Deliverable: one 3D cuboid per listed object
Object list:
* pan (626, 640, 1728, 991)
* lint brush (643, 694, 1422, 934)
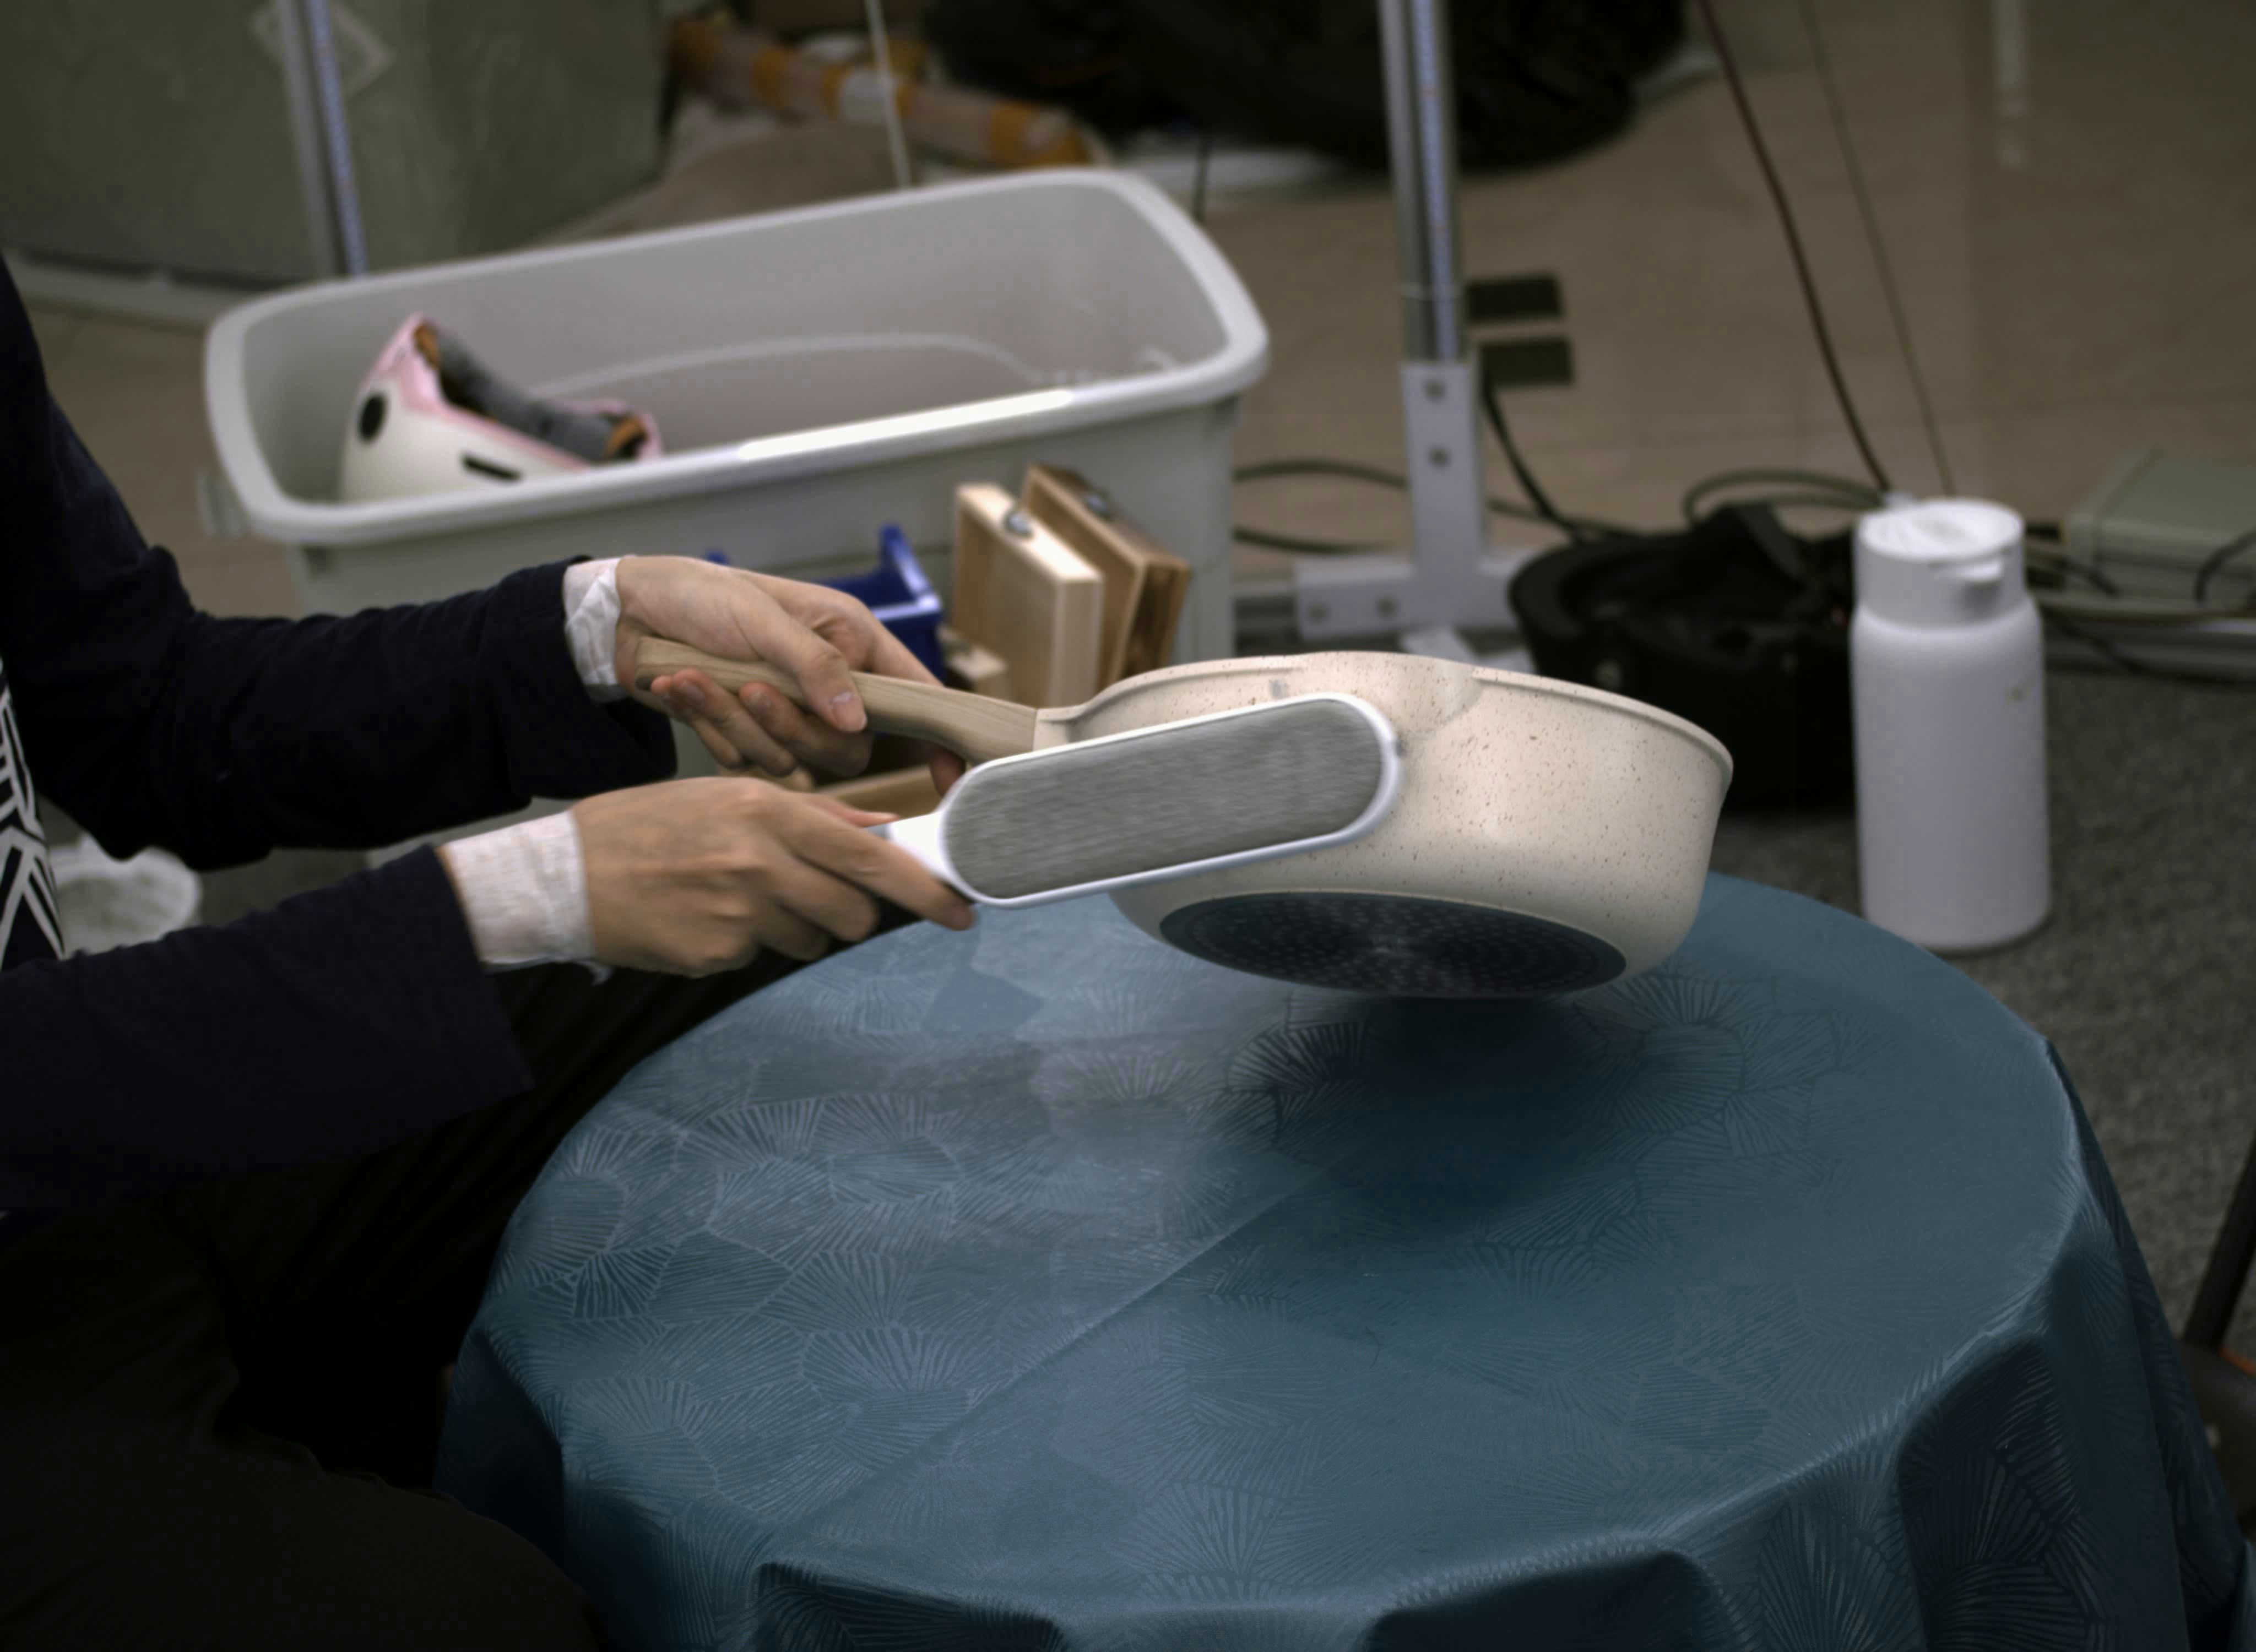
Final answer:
[{"bbox_3d":[0.013,-0.006,2.203,0.434,0.101,0.265,5,-9,8],"label":"pan"},{"bbox_3d":[-0.038,0.001,2.095,0.309,0.060,0.021,-11,-5,18],"label":"lint brush"}]
